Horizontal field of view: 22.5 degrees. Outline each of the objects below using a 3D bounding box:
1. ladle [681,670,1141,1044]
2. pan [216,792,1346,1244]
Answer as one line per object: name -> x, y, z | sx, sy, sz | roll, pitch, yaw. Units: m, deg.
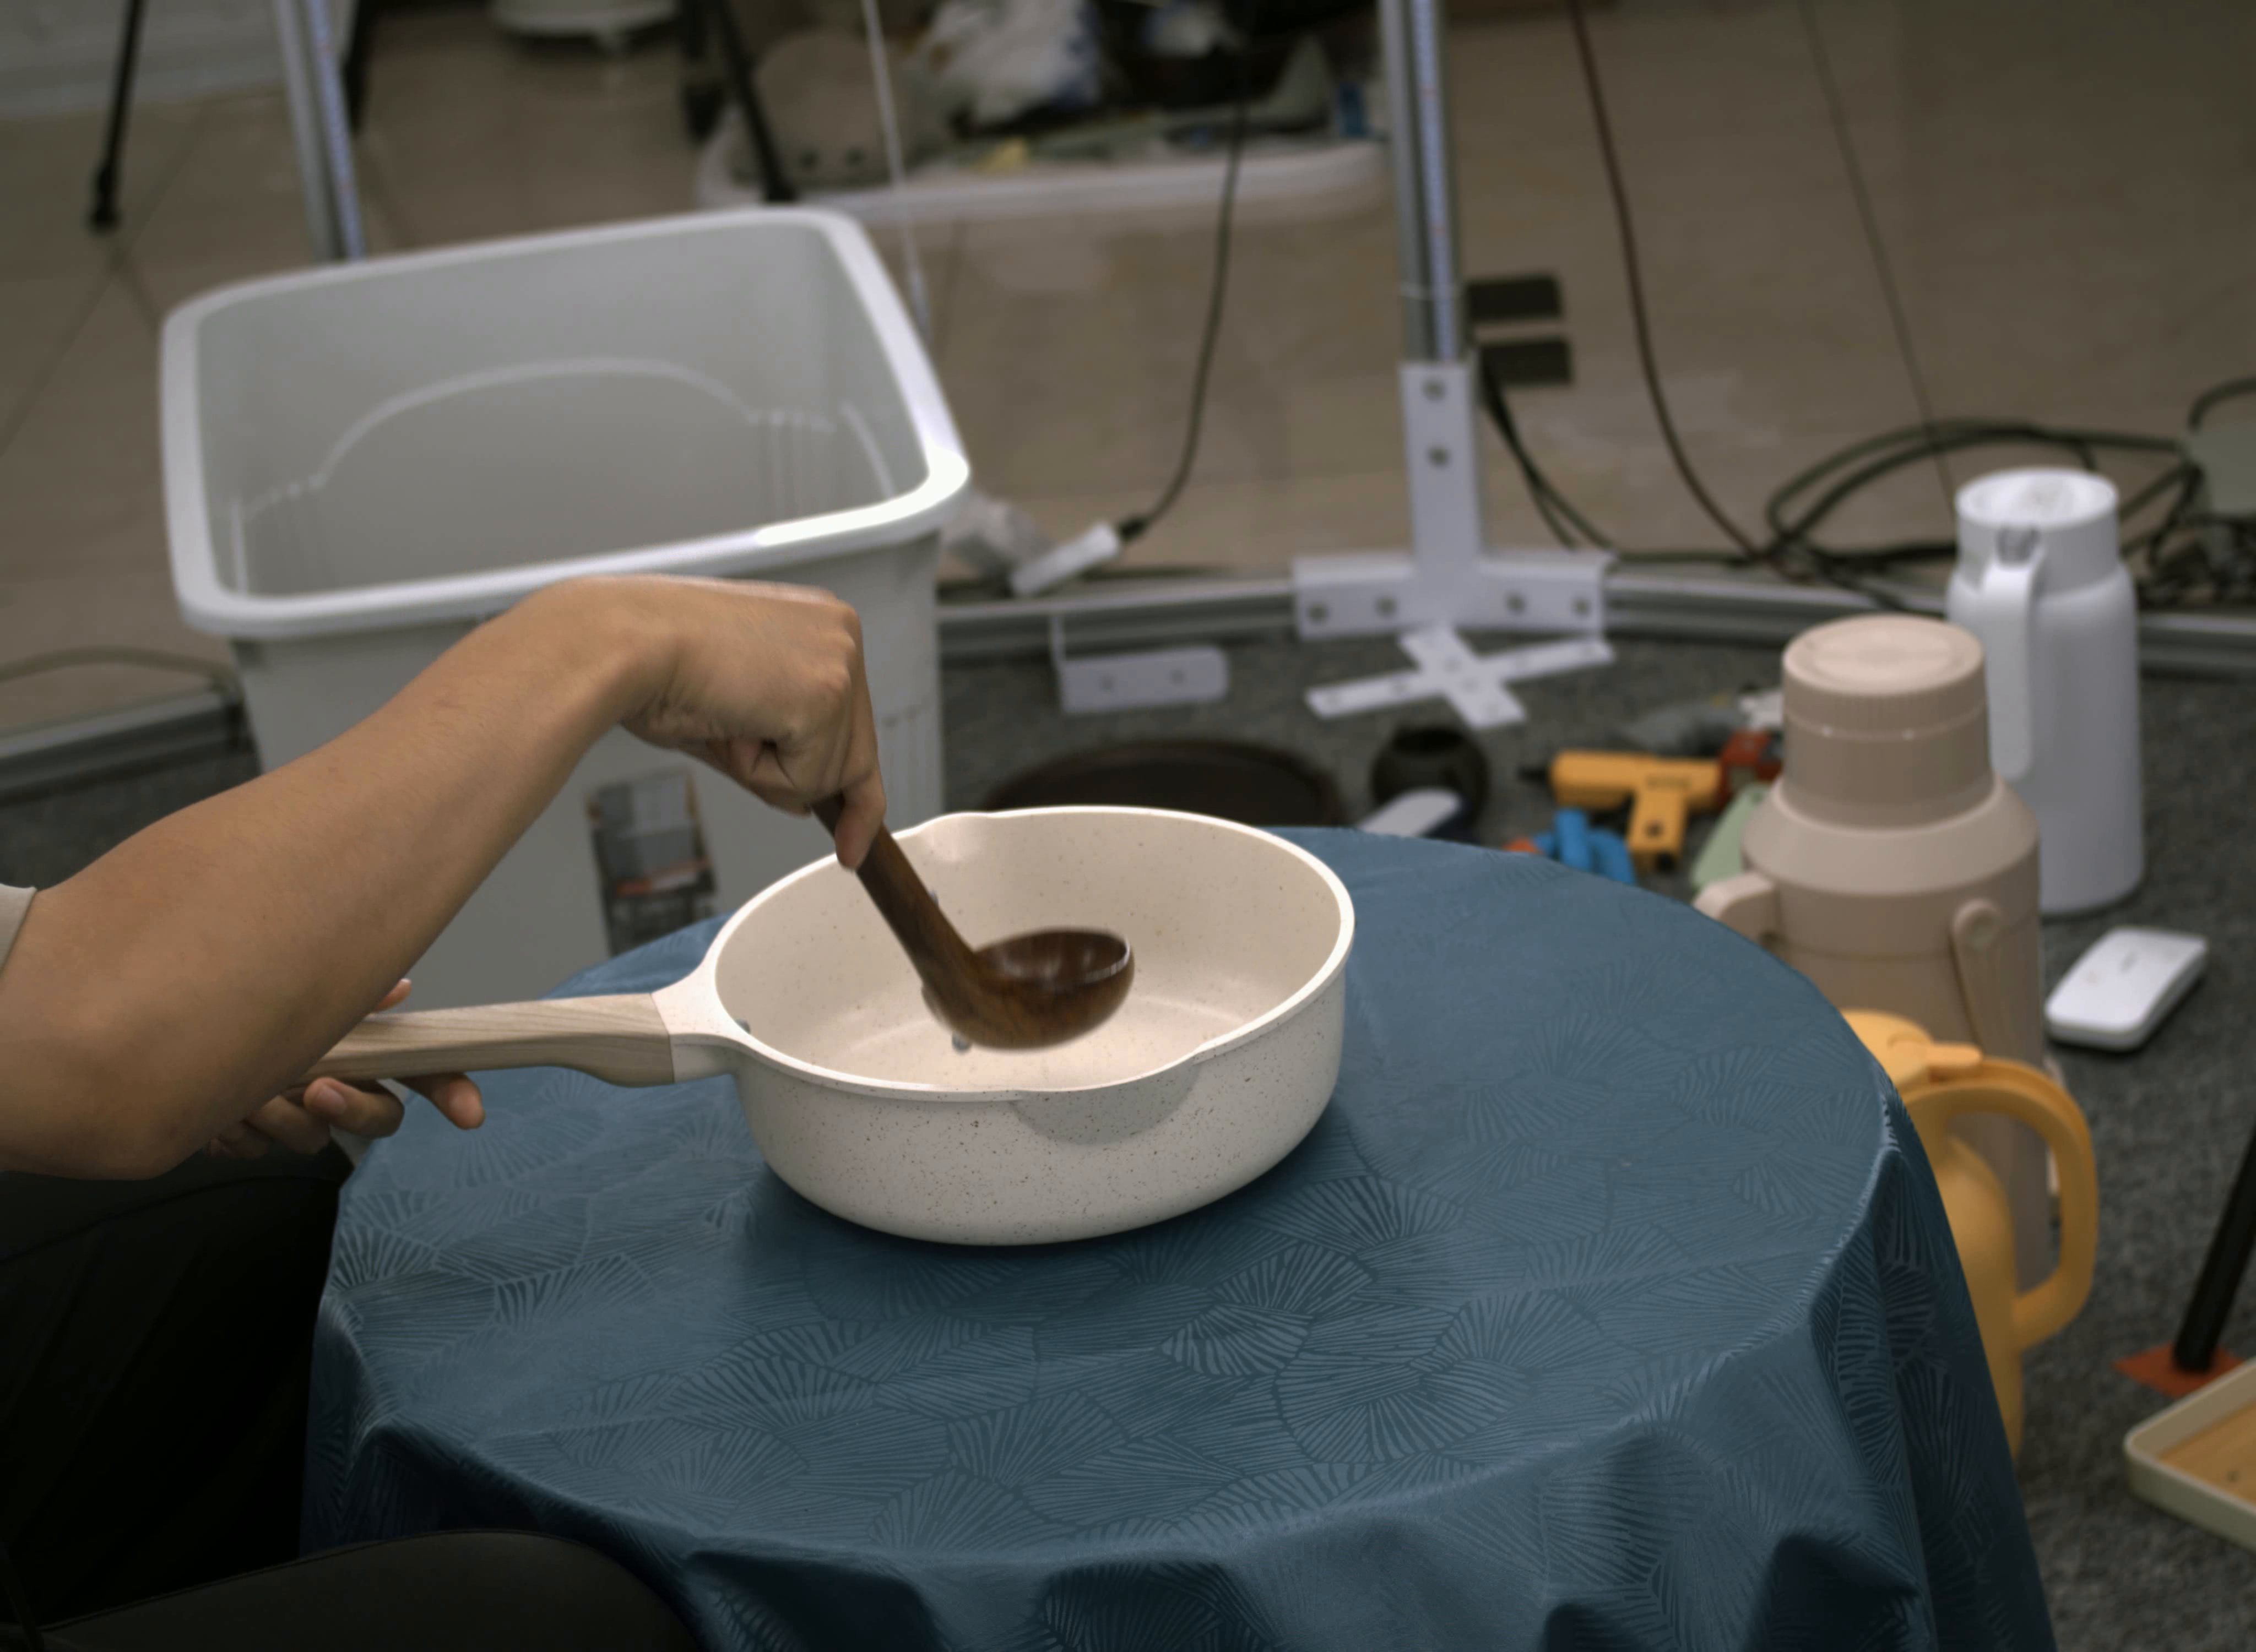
ladle -> -0.078, -0.002, 2.039 | 0.082, 0.278, 0.075 | -8, 54, 24
pan -> -0.126, 0.089, 2.170 | 0.434, 0.103, 0.259 | -12, 27, -11
